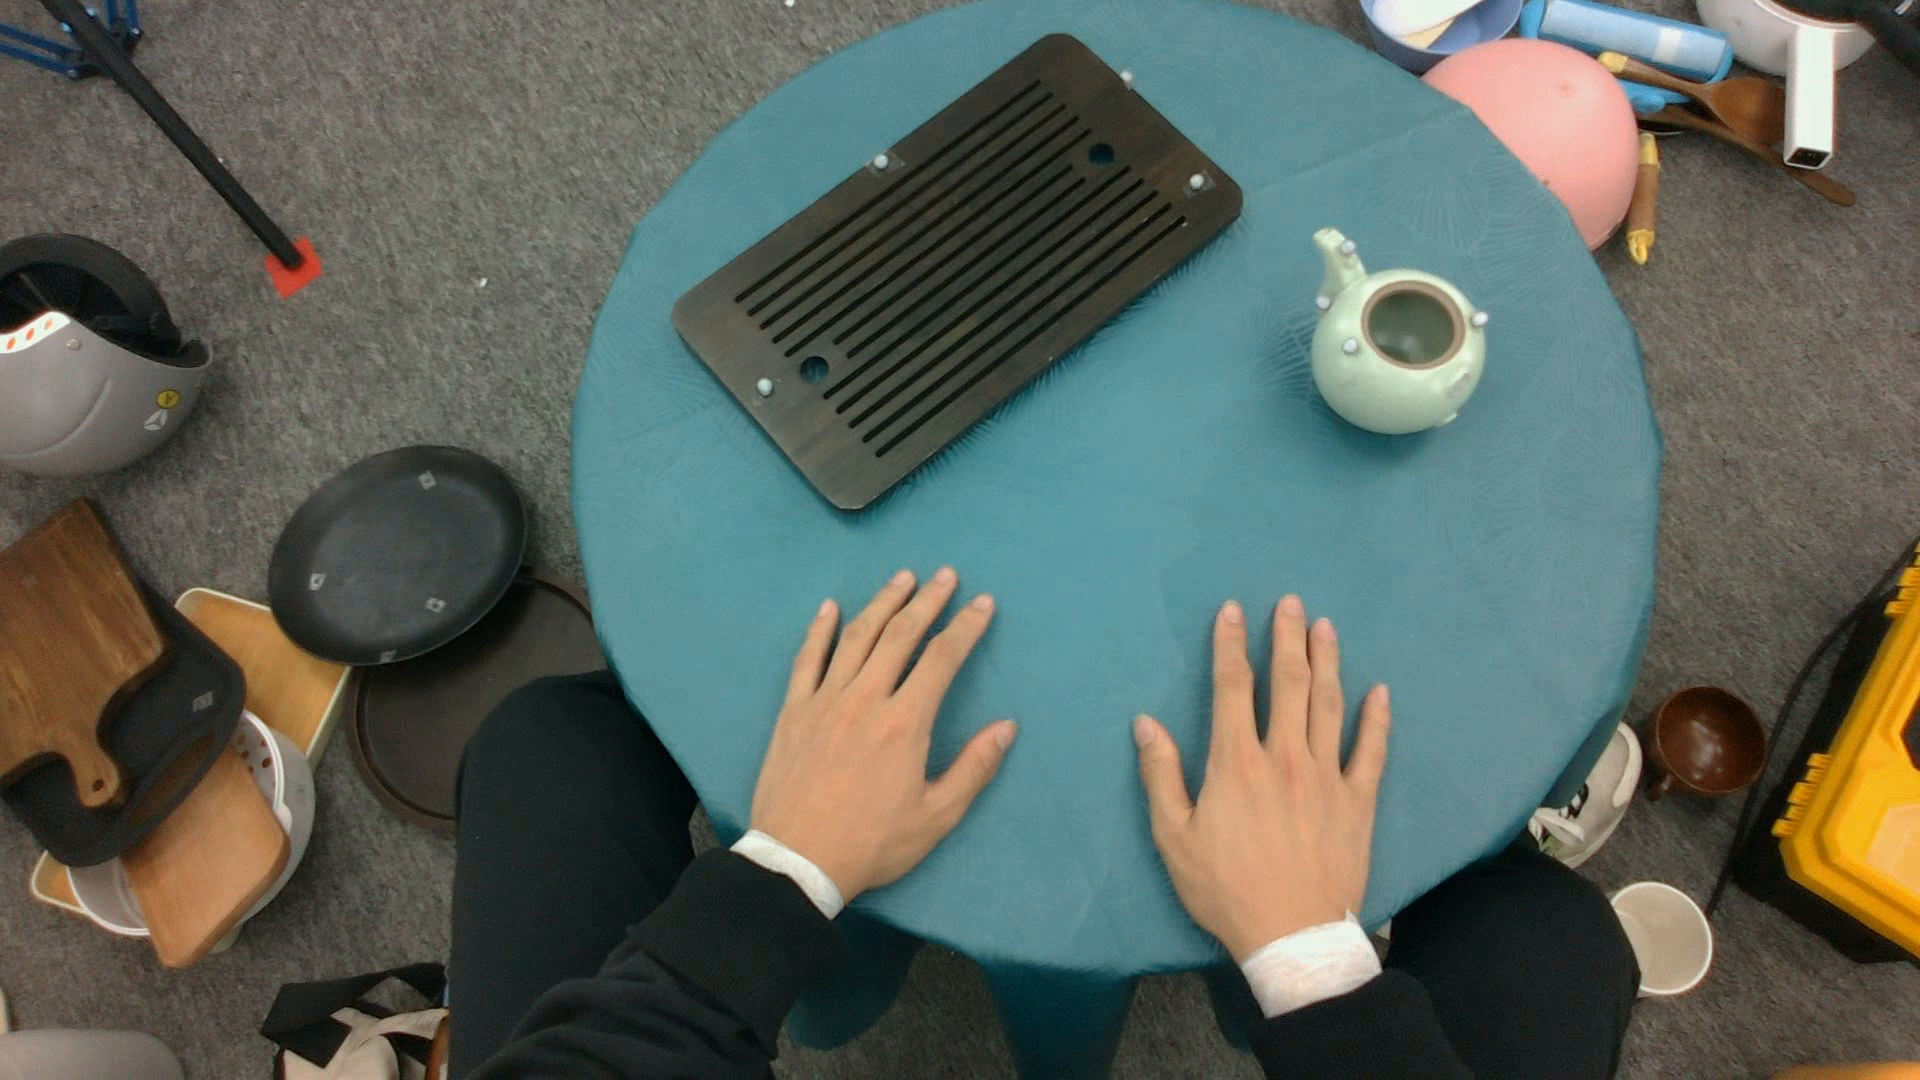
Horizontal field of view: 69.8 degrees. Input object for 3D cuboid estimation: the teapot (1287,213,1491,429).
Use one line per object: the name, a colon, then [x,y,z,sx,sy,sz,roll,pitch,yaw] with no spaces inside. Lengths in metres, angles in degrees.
teapot: [0.221,-0.110,0.740,0.088,0.074,0.144,-35,71,-12]

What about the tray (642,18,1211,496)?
tray: [-0.016,-0.170,0.795,0.306,0.018,0.170,-39,74,-13]
